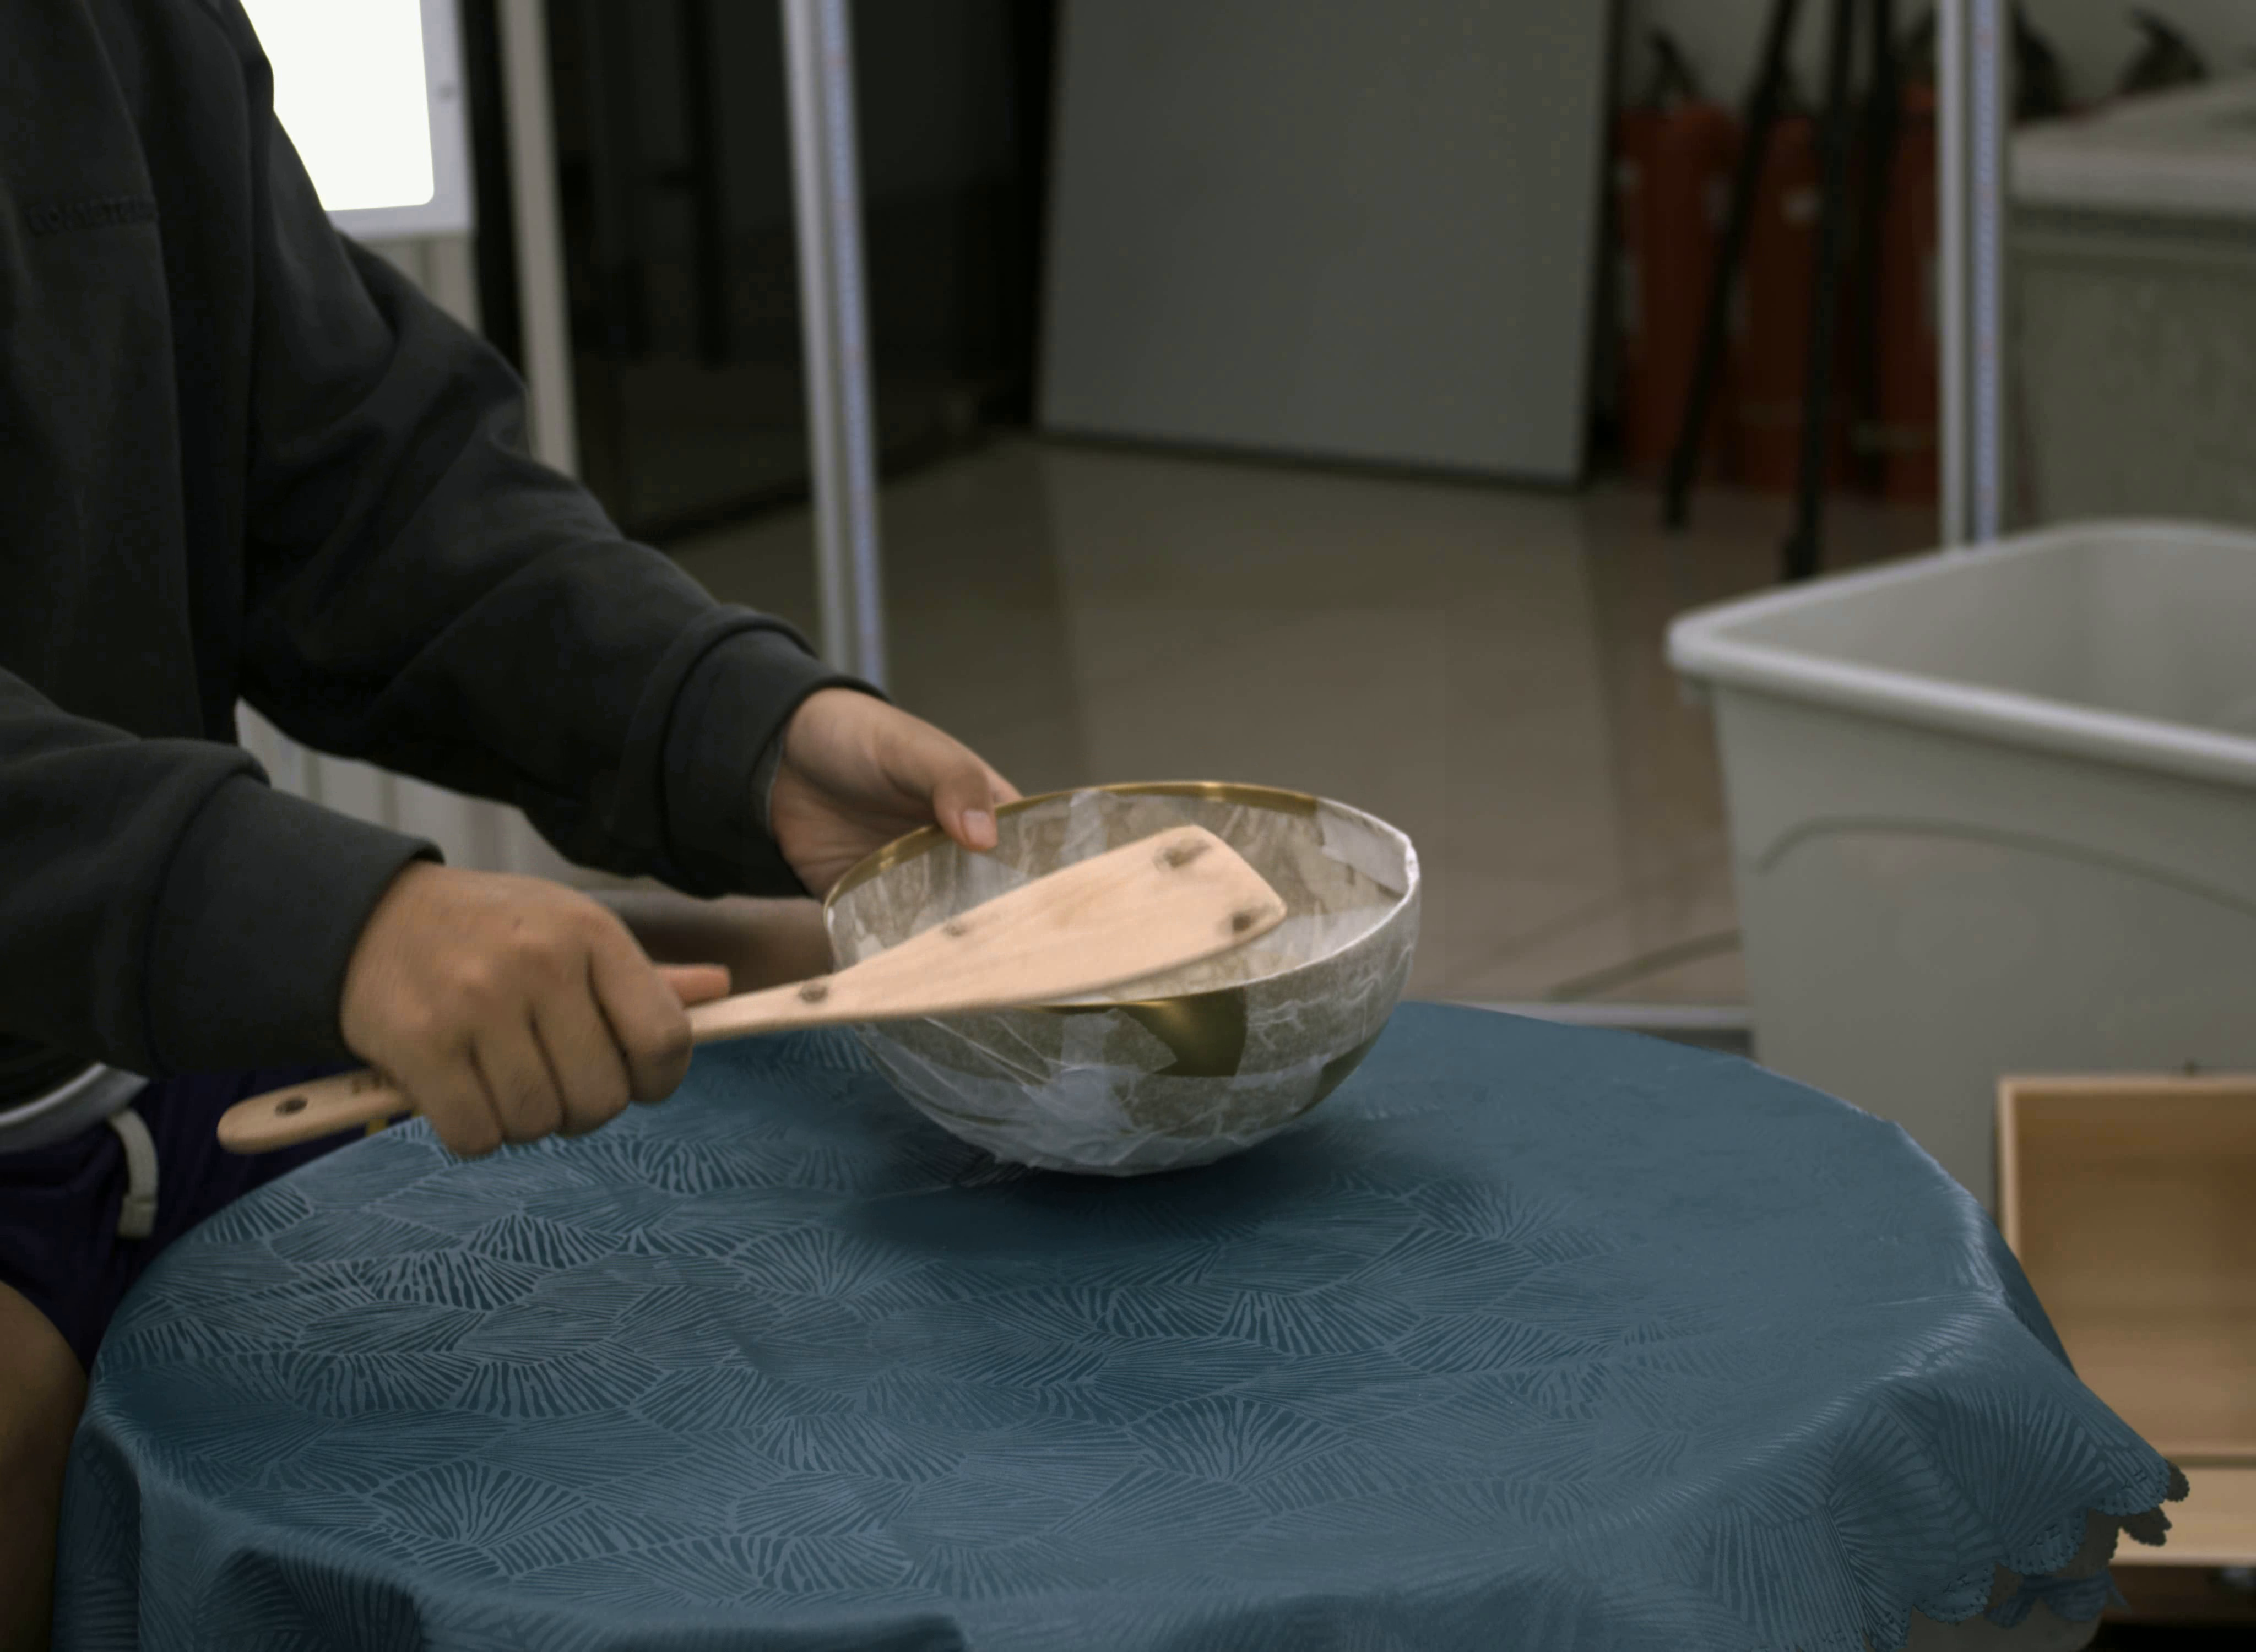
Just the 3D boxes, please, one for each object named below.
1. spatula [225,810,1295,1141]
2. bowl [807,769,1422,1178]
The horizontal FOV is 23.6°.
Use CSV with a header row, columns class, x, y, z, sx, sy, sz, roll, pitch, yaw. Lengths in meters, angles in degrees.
class,x,y,z,sx,sy,sz,roll,pitch,yaw
spatula,-0.112,0.048,1.625,0.322,0.016,0.080,-13,27,-8
bowl,-0.002,0.059,1.805,0.212,0.095,0.215,-5,21,1
